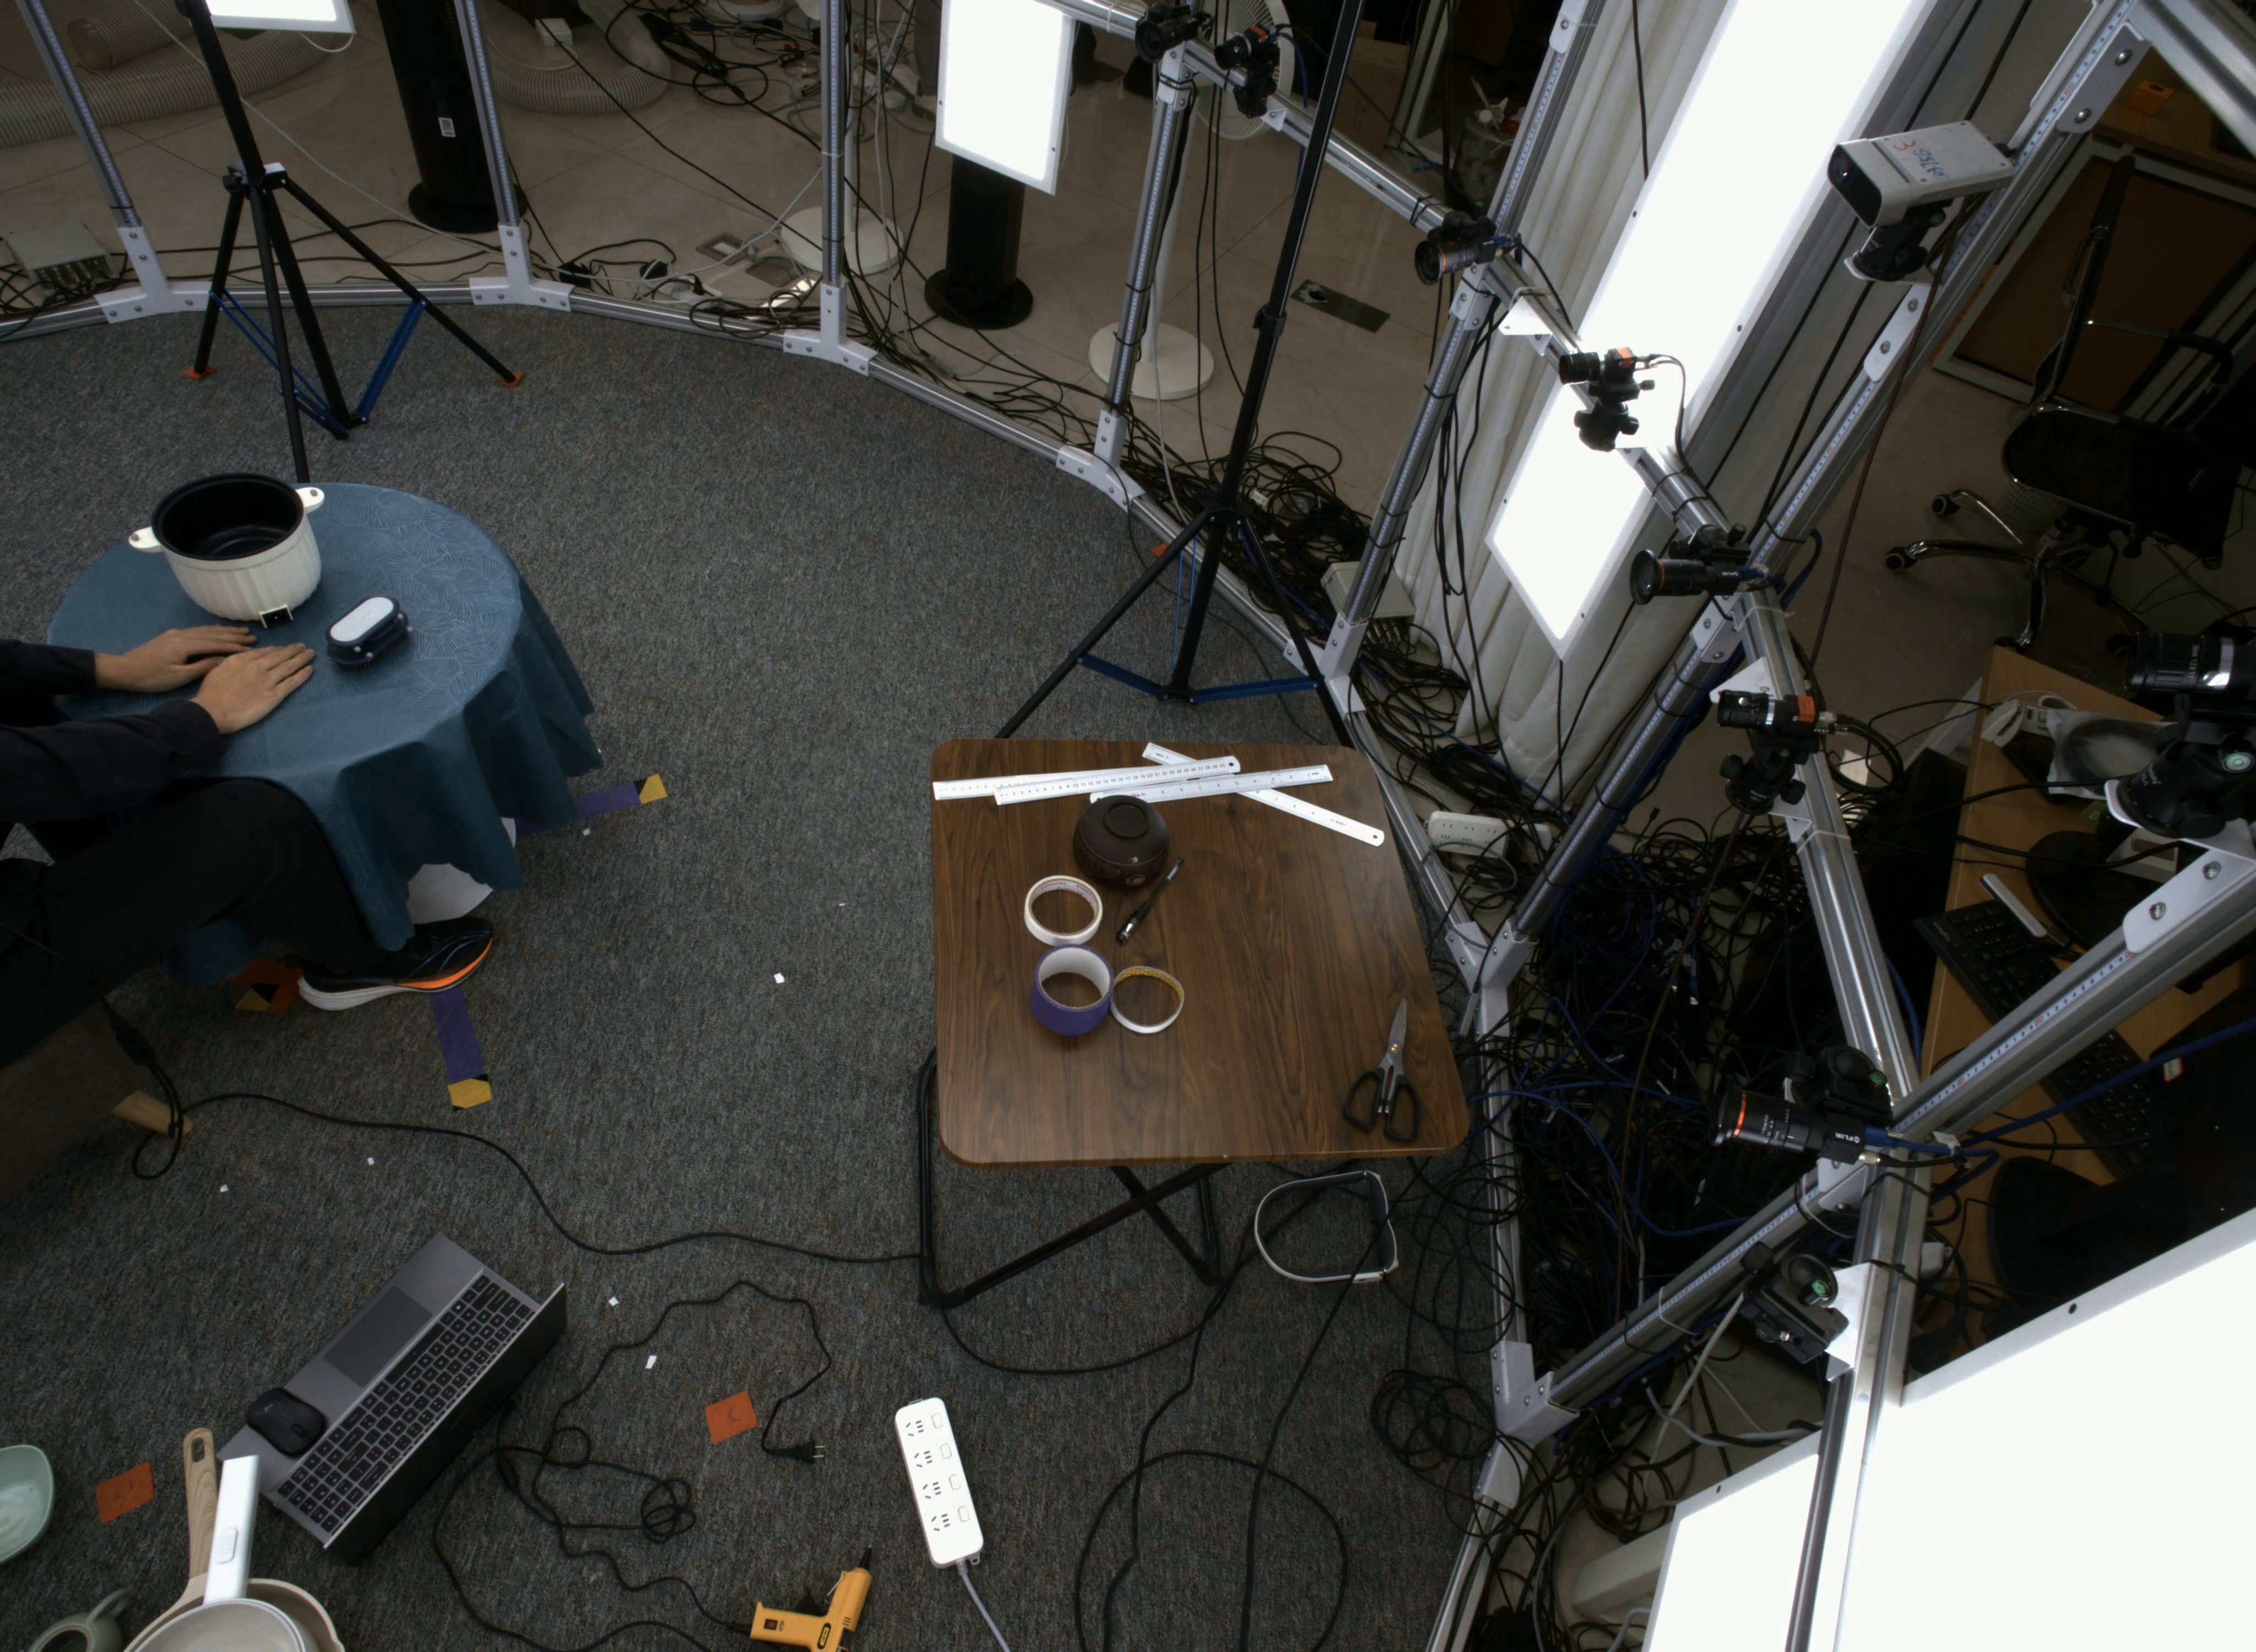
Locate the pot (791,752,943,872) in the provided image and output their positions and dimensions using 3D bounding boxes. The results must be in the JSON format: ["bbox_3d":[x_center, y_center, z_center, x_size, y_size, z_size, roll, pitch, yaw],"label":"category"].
[{"bbox_3d":[-0.424,-0.027,2.101,0.240,0.146,0.186,4,26,-10],"label":"pot"}]

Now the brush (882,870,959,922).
[{"bbox_3d":[-0.311,0.105,1.961,0.123,0.062,0.065,-4,29,-32],"label":"brush"}]
